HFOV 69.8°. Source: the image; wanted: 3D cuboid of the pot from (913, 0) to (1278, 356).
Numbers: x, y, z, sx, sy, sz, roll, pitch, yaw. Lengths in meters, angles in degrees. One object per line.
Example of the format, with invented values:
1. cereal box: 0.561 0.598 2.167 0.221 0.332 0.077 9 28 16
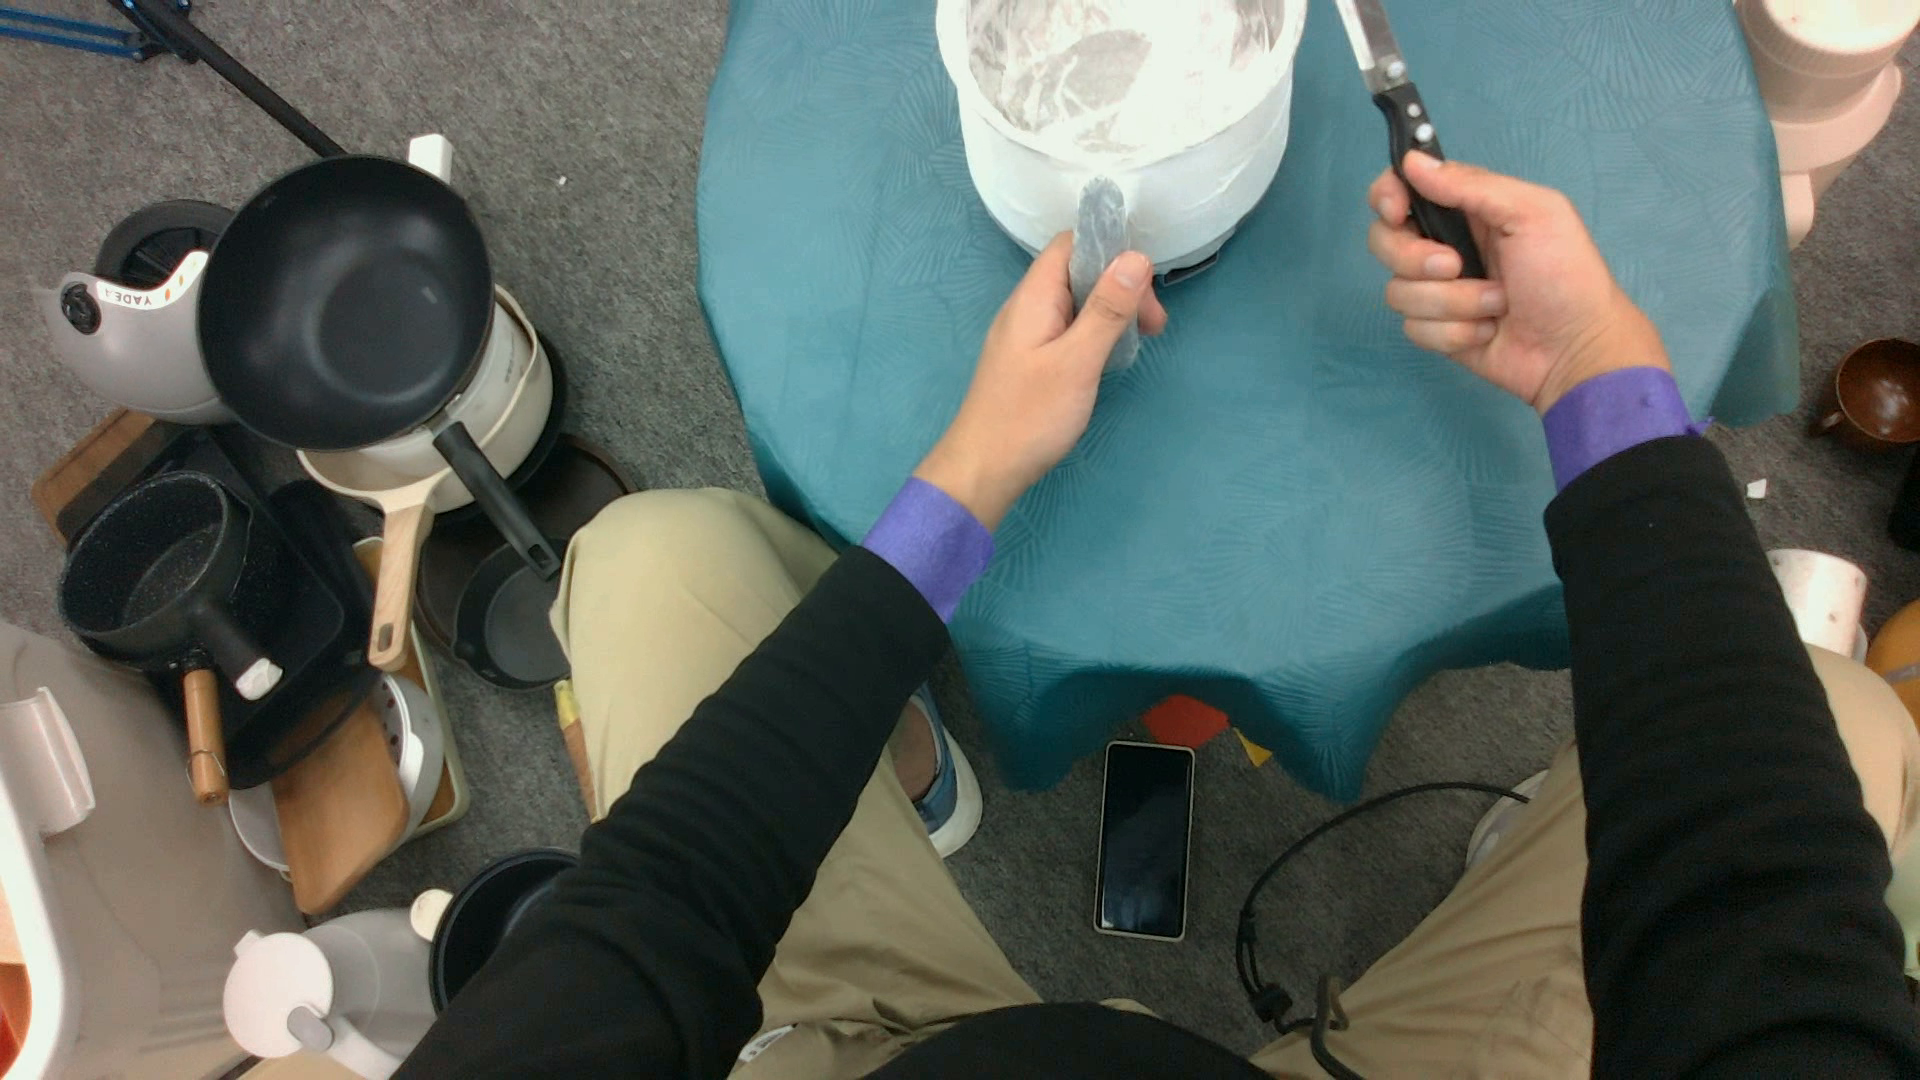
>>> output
1. pot: 0.071 -0.220 0.715 0.178 0.136 0.234 2 72 9

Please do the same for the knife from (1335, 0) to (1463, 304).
1. knife: 0.196 -0.227 0.652 0.024 0.016 0.238 -18 91 -13
